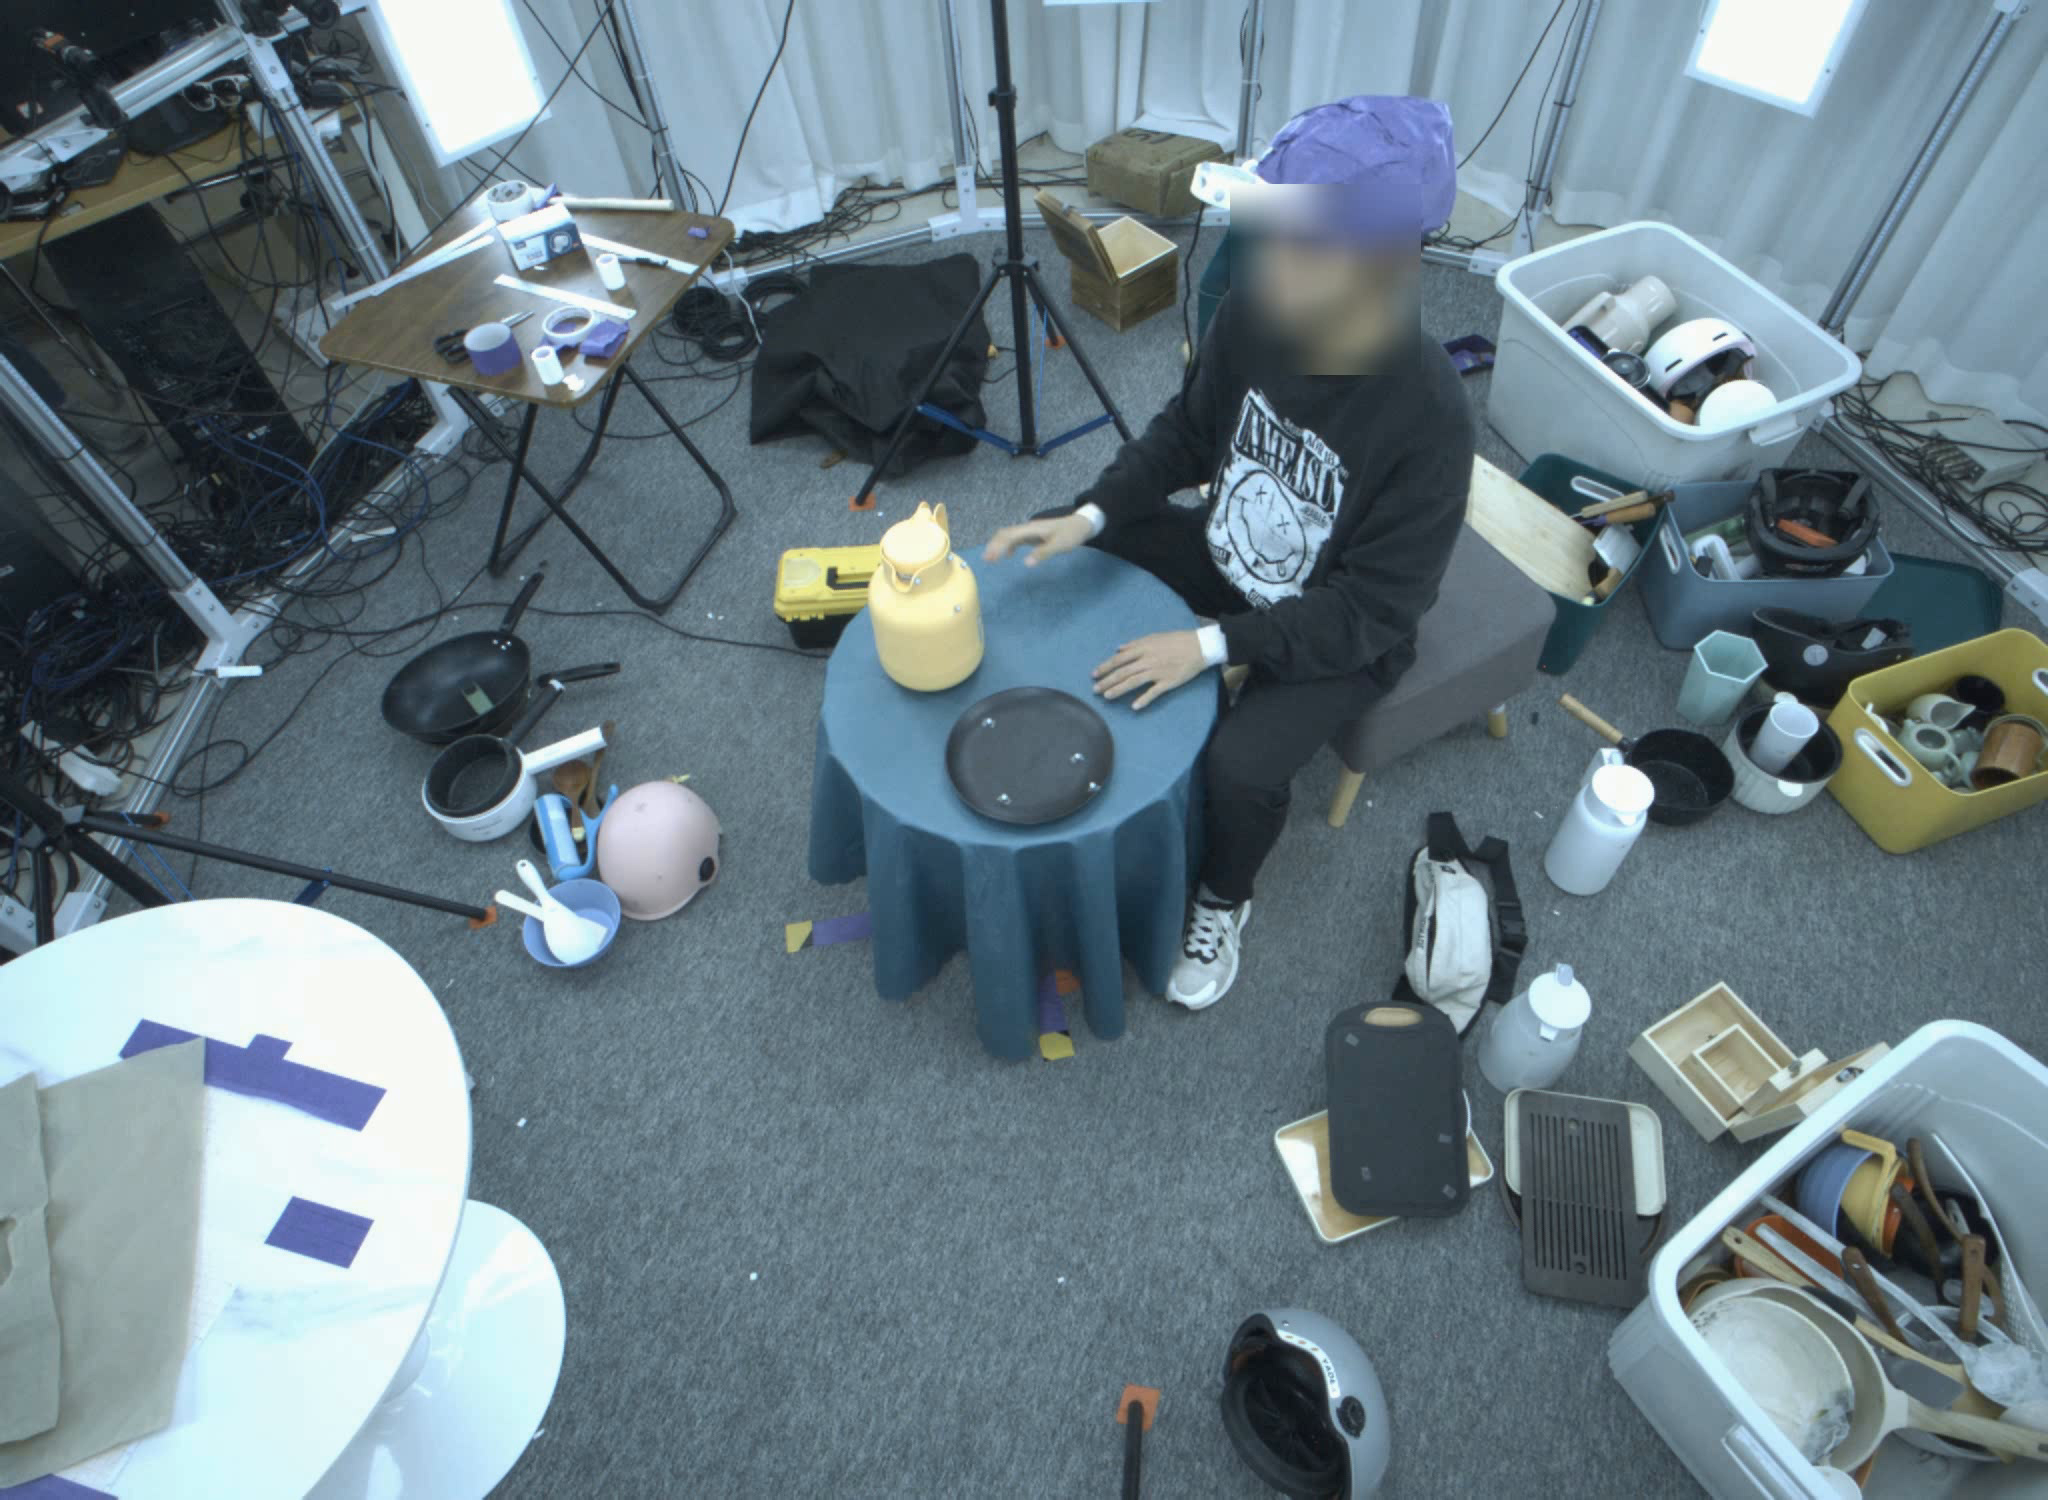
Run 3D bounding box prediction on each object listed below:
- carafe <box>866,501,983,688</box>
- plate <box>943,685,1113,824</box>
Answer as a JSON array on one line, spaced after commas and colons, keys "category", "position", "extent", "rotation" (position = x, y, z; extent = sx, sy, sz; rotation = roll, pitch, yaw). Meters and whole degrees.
[{"category": "carafe", "position": [-0.143, -0.234, 1.792], "extent": [0.162, 0.263, 0.201], "rotation": [11, 57, 8]}, {"category": "plate", "position": [0.006, 0.008, 1.763], "extent": [0.244, 0.023, 0.242], "rotation": [0, 55, 2]}]
